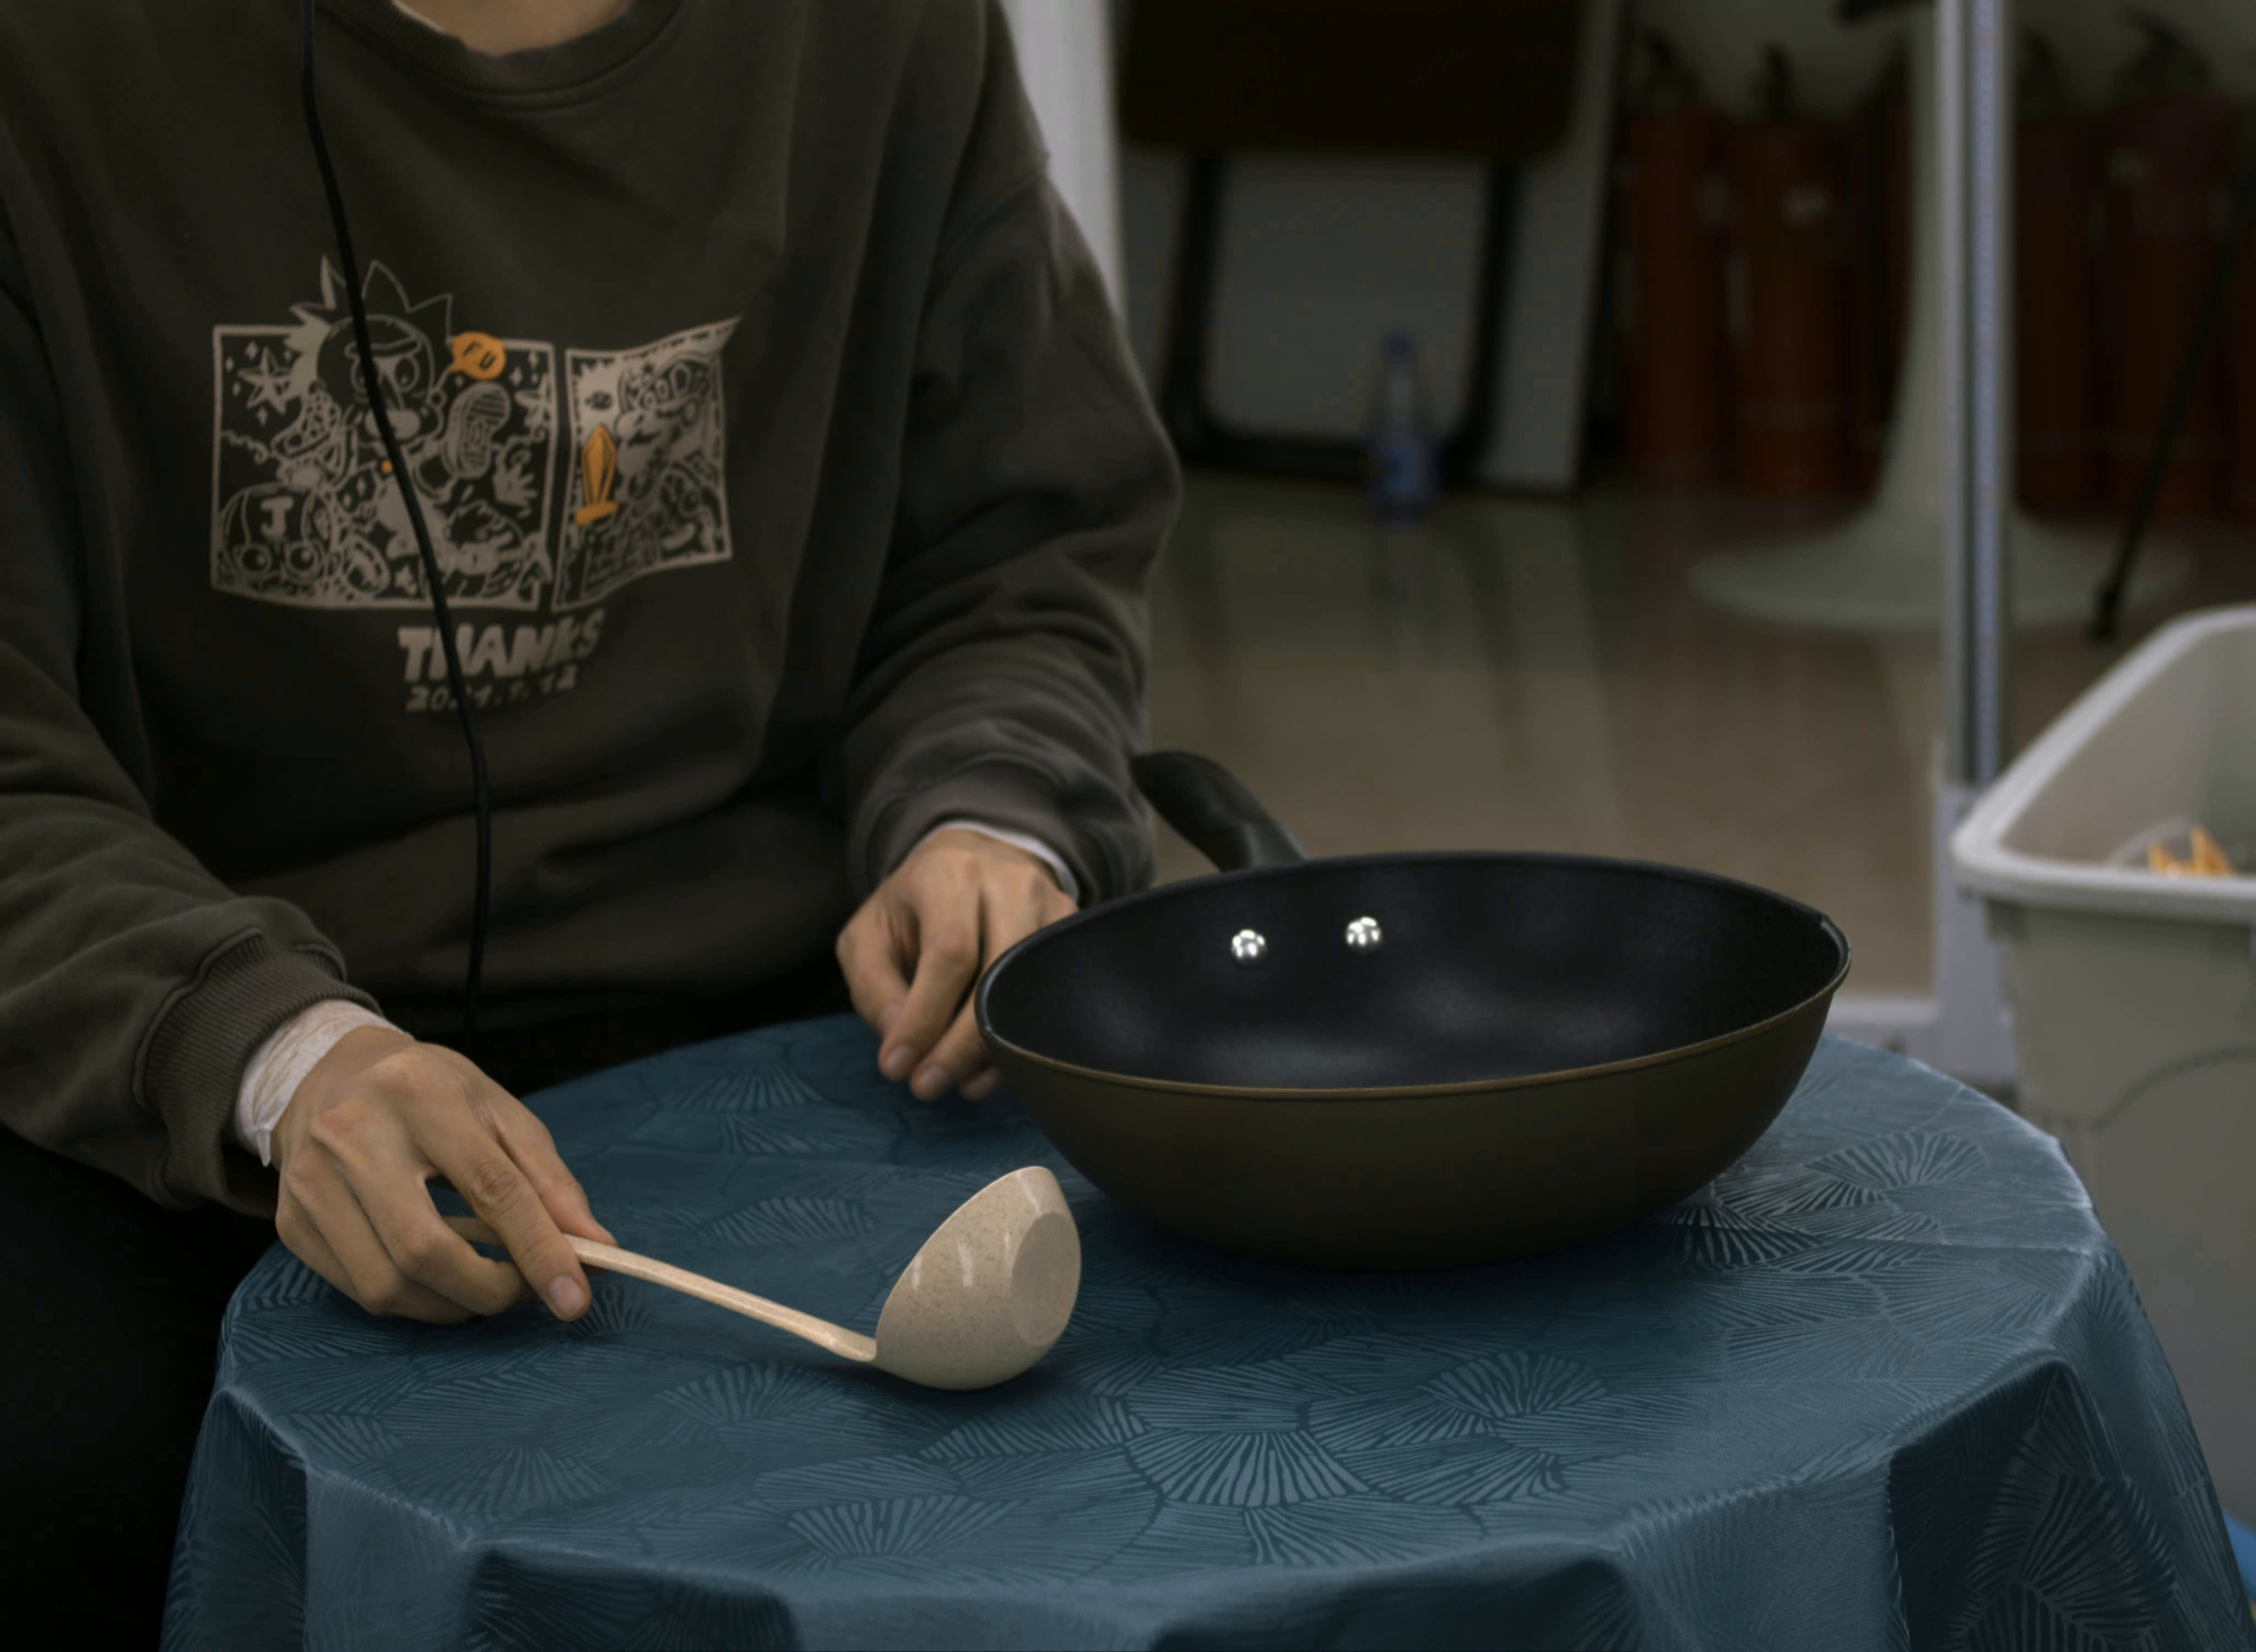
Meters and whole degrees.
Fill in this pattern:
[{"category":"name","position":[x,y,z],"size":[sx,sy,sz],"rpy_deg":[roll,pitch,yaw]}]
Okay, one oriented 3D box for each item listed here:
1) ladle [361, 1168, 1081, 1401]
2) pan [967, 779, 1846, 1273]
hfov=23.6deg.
[{"category":"ladle","position":[-0.129,0.116,1.642],"size":[0.255,0.074,0.071],"rpy_deg":[12,10,31]},{"category":"pan","position":[0.069,0.064,1.818],"size":[0.283,0.088,0.466],"rpy_deg":[-7,13,-12]}]
